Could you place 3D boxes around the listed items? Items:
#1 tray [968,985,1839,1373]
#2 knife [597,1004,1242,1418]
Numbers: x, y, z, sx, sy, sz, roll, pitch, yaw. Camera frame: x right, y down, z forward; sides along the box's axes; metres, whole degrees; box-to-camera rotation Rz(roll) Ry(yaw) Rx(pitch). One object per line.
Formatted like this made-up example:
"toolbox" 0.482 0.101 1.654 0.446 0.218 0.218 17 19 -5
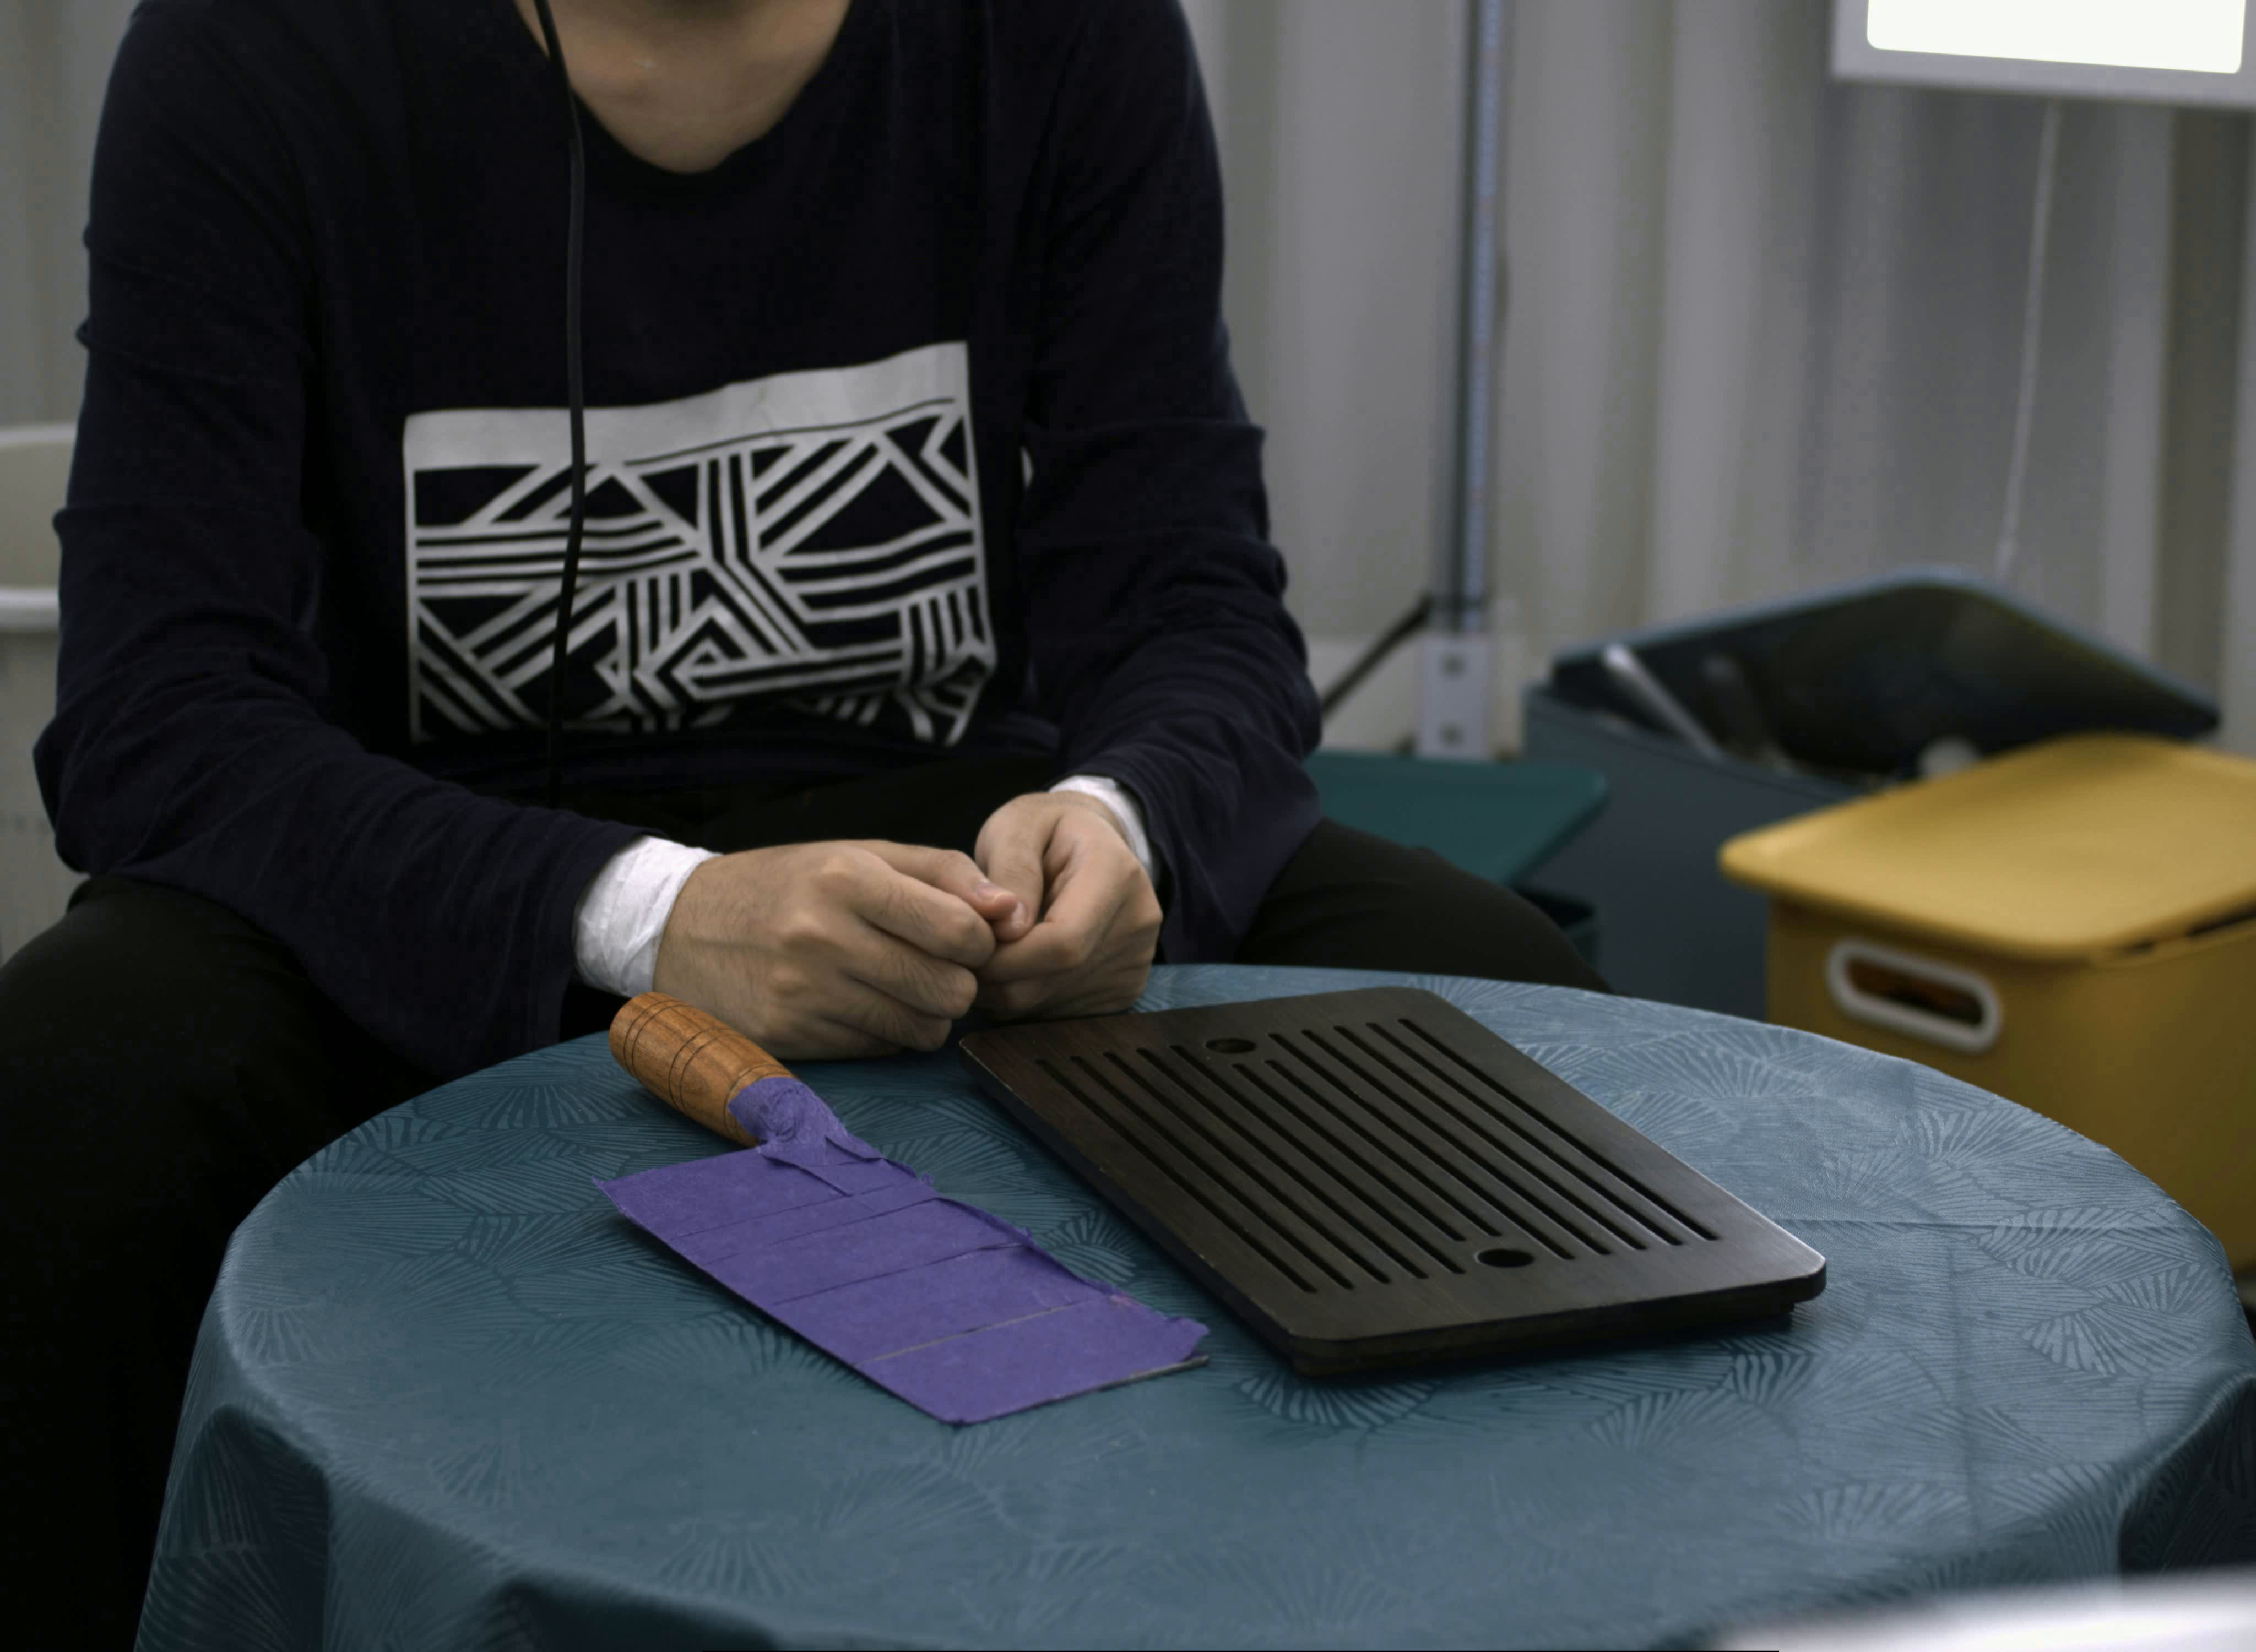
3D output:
"tray" 0.077 0.105 1.621 0.170 0.019 0.302 -5 16 -20
"knife" -0.096 0.111 1.575 0.104 0.032 0.311 -10 19 -34
